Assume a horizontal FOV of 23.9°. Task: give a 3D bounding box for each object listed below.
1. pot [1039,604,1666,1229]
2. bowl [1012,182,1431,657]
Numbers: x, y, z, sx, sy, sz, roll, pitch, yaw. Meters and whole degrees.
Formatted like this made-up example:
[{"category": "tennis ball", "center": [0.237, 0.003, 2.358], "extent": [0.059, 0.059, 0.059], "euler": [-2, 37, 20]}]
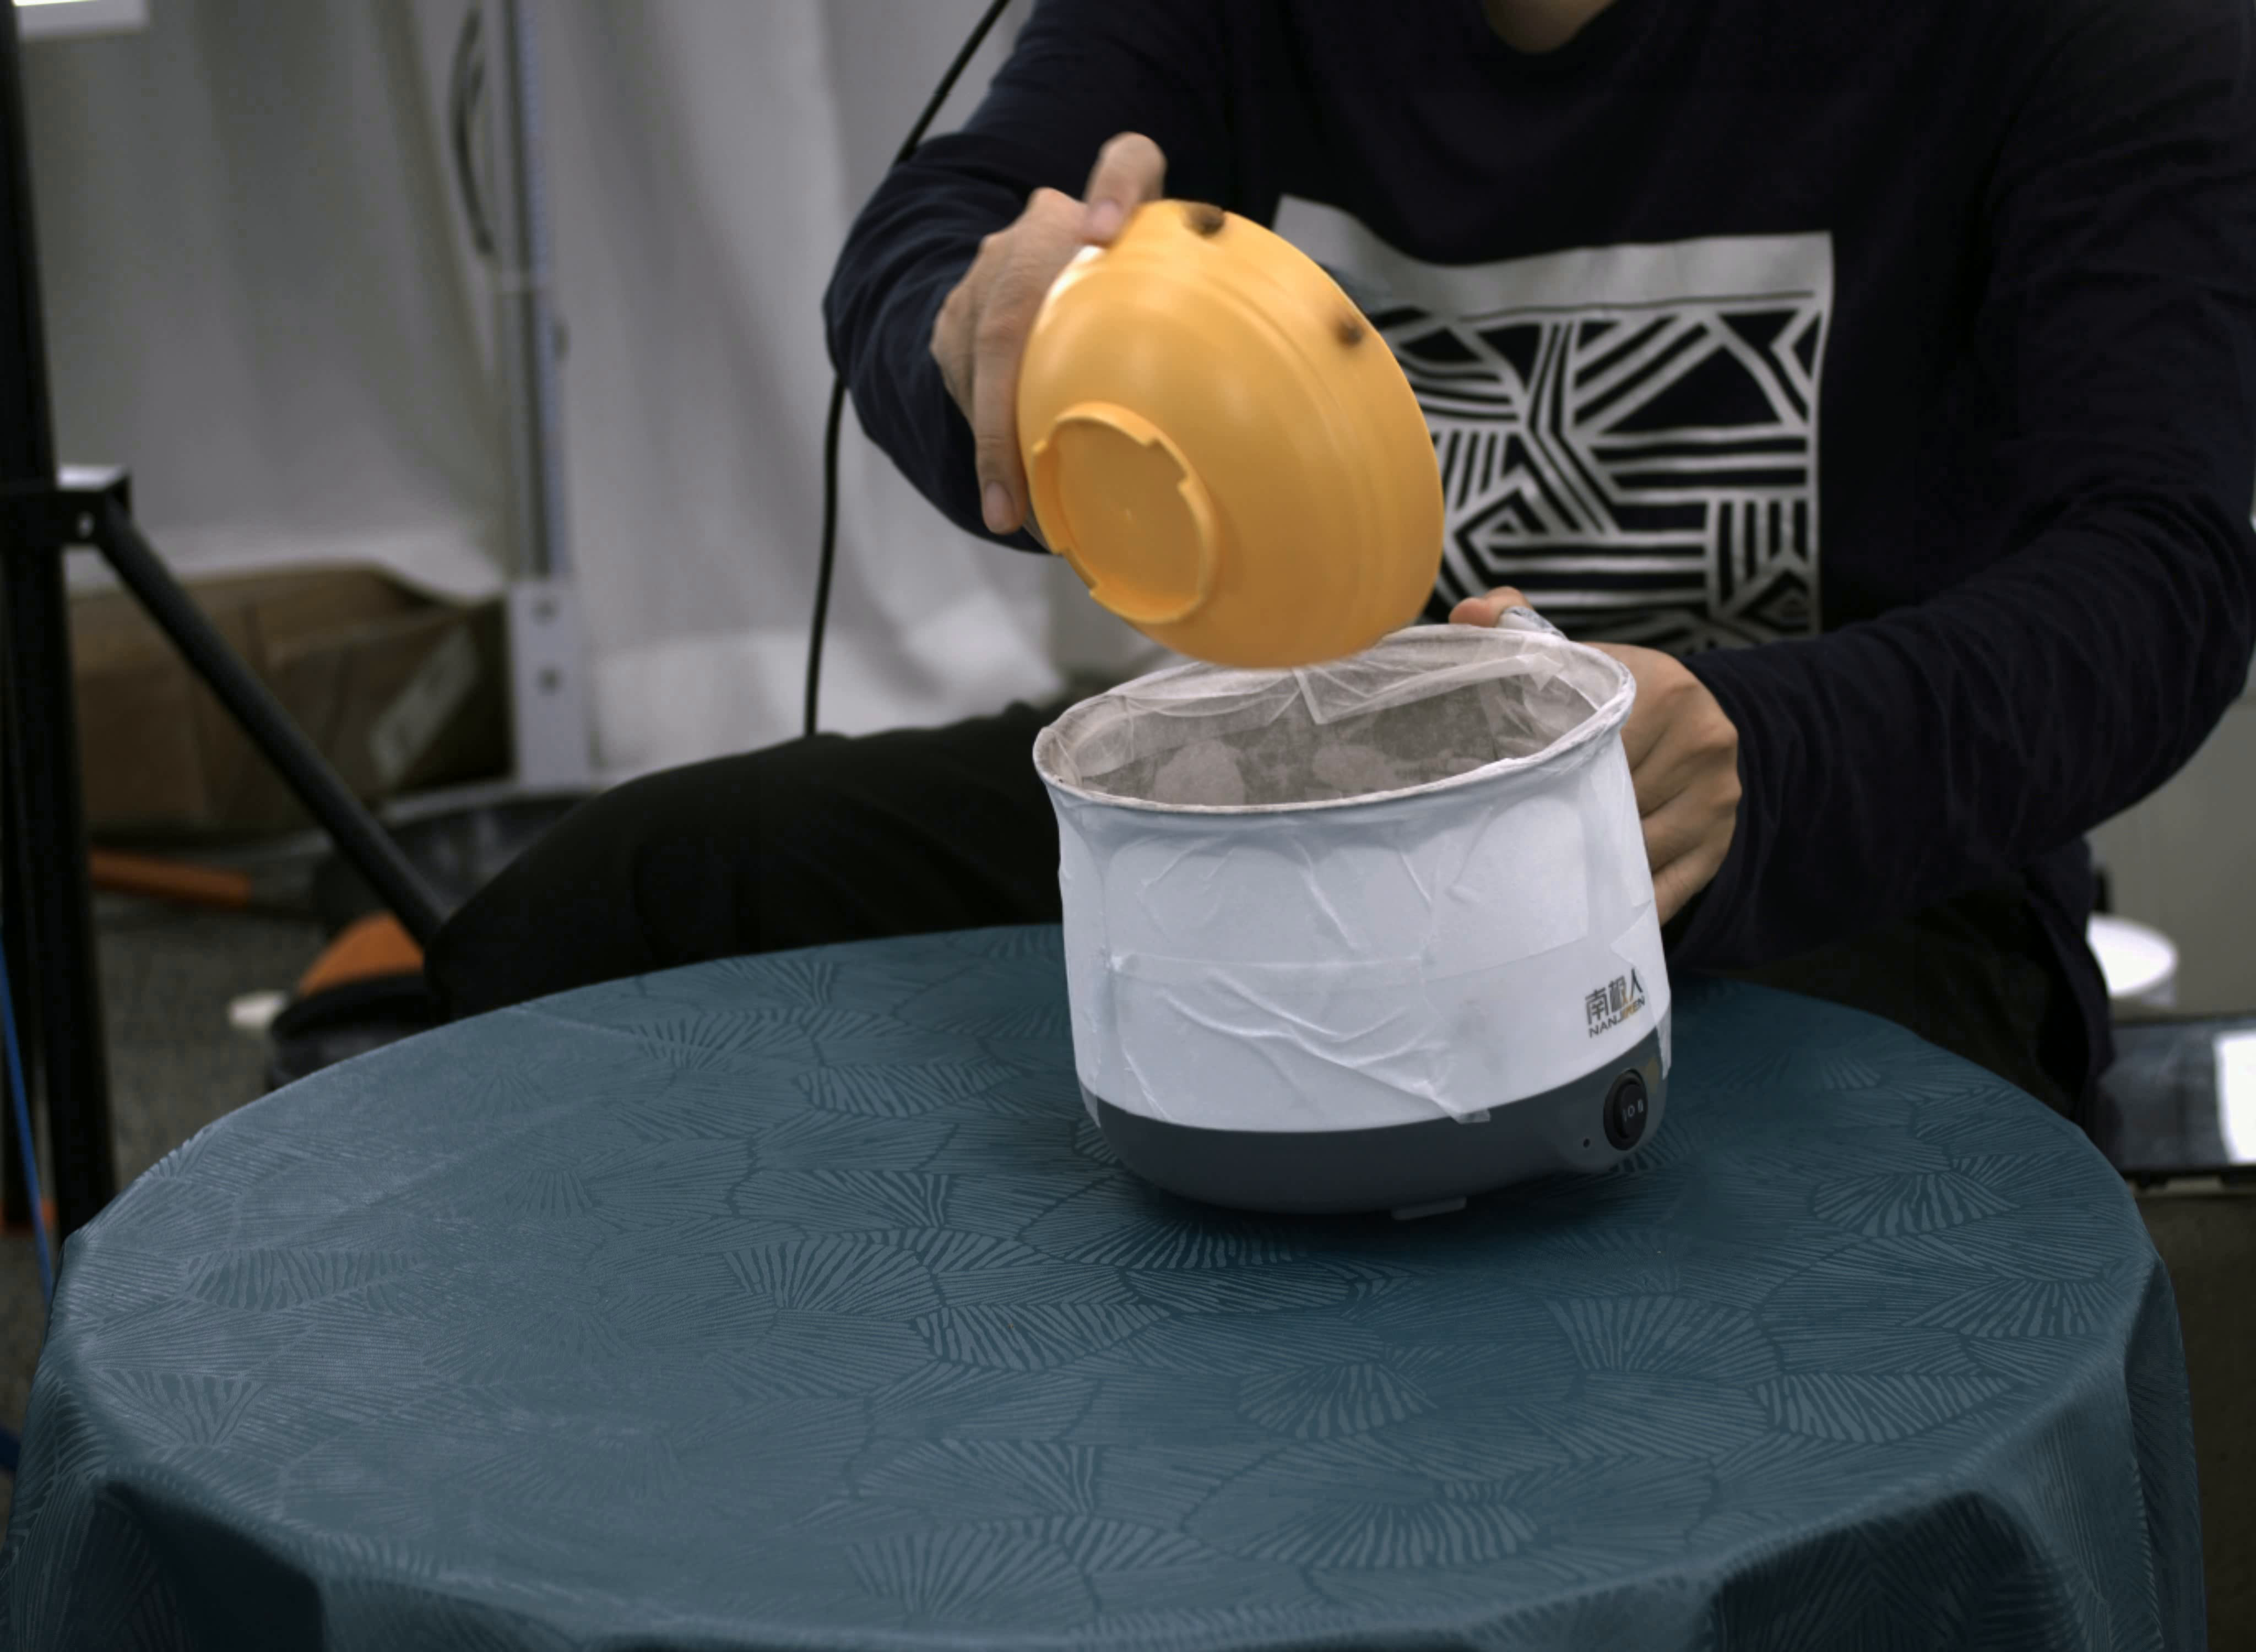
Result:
[{"category": "pot", "center": [0.083, 0.020, 1.578], "extent": [0.182, 0.136, 0.229], "euler": [7, 22, 35]}, {"category": "bowl", "center": [0.013, -0.103, 1.507], "extent": [0.059, 0.144, 0.148], "euler": [-34, 32, -34]}]
